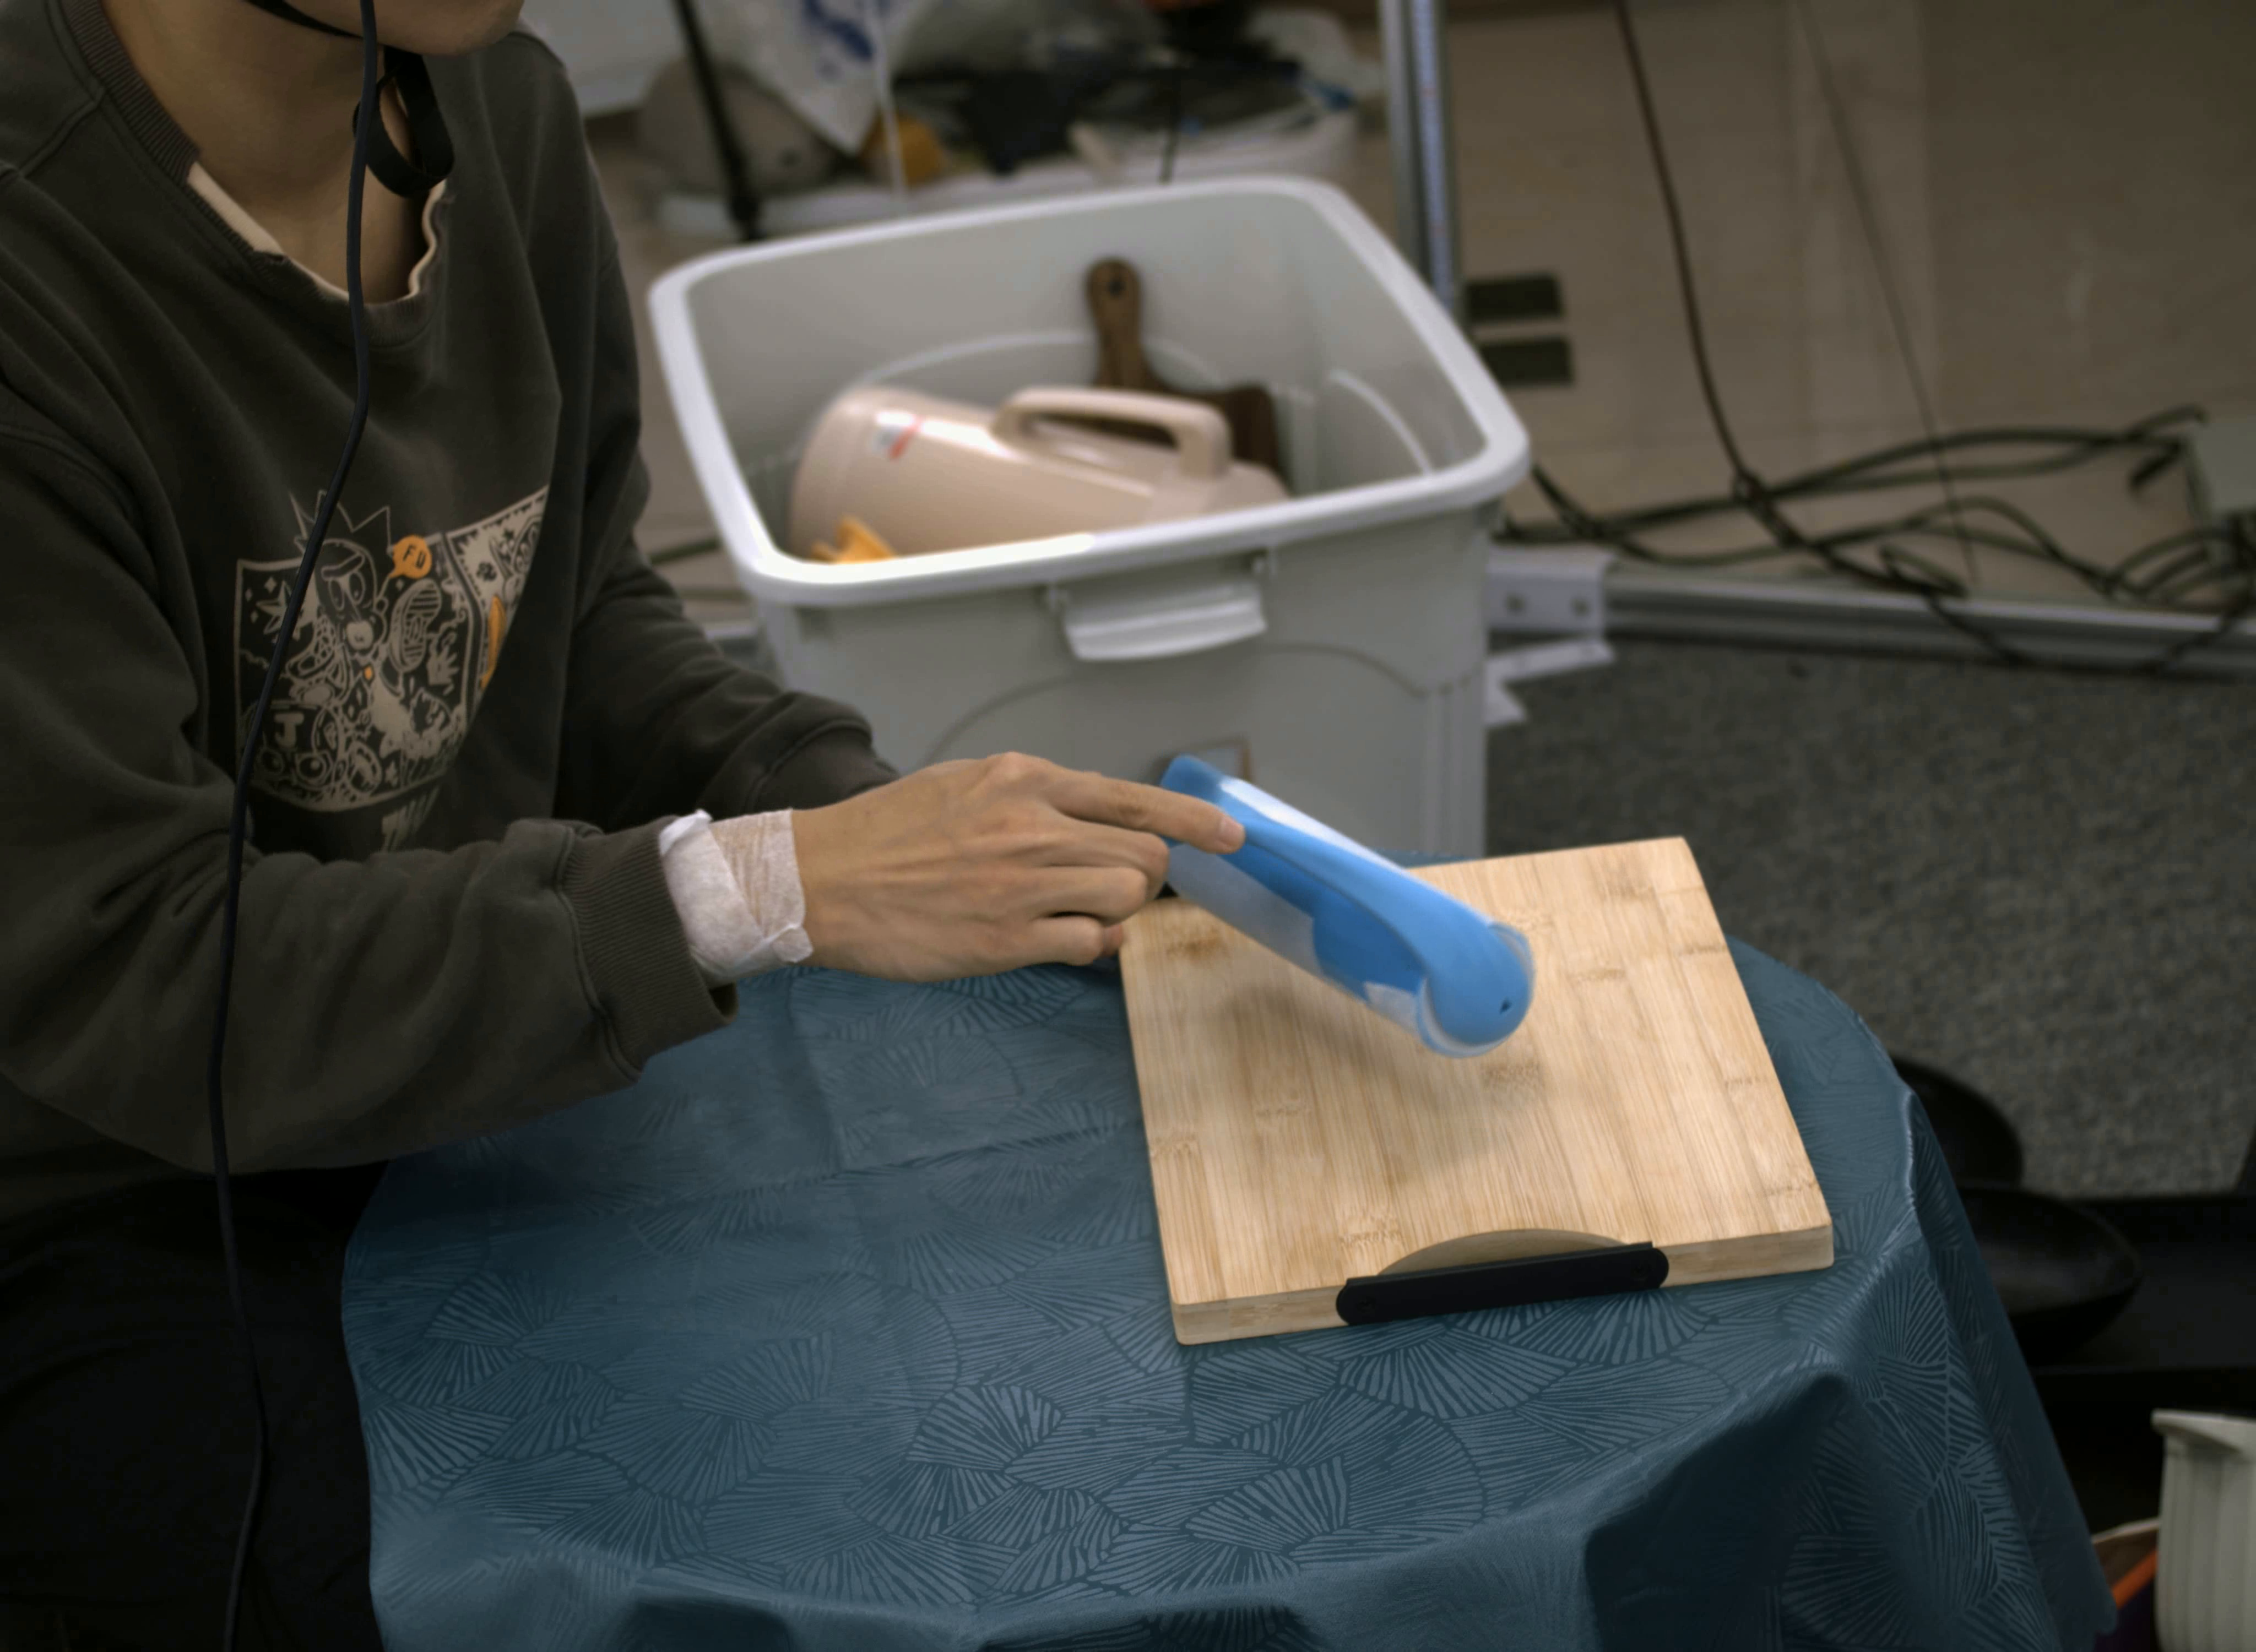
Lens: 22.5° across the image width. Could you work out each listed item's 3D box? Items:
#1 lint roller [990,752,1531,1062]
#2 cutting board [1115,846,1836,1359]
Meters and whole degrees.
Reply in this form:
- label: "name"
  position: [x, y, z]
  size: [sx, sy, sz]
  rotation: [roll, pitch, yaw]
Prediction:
- label: "lint roller"
  position: [0.034, 0.024, 2.154]
  size: [0.181, 0.068, 0.226]
  rotation: [11, 14, -36]
- label: "cutting board"
  position: [0.124, 0.099, 2.183]
  size: [0.250, 0.024, 0.343]
  rotation: [-8, 25, -1]
